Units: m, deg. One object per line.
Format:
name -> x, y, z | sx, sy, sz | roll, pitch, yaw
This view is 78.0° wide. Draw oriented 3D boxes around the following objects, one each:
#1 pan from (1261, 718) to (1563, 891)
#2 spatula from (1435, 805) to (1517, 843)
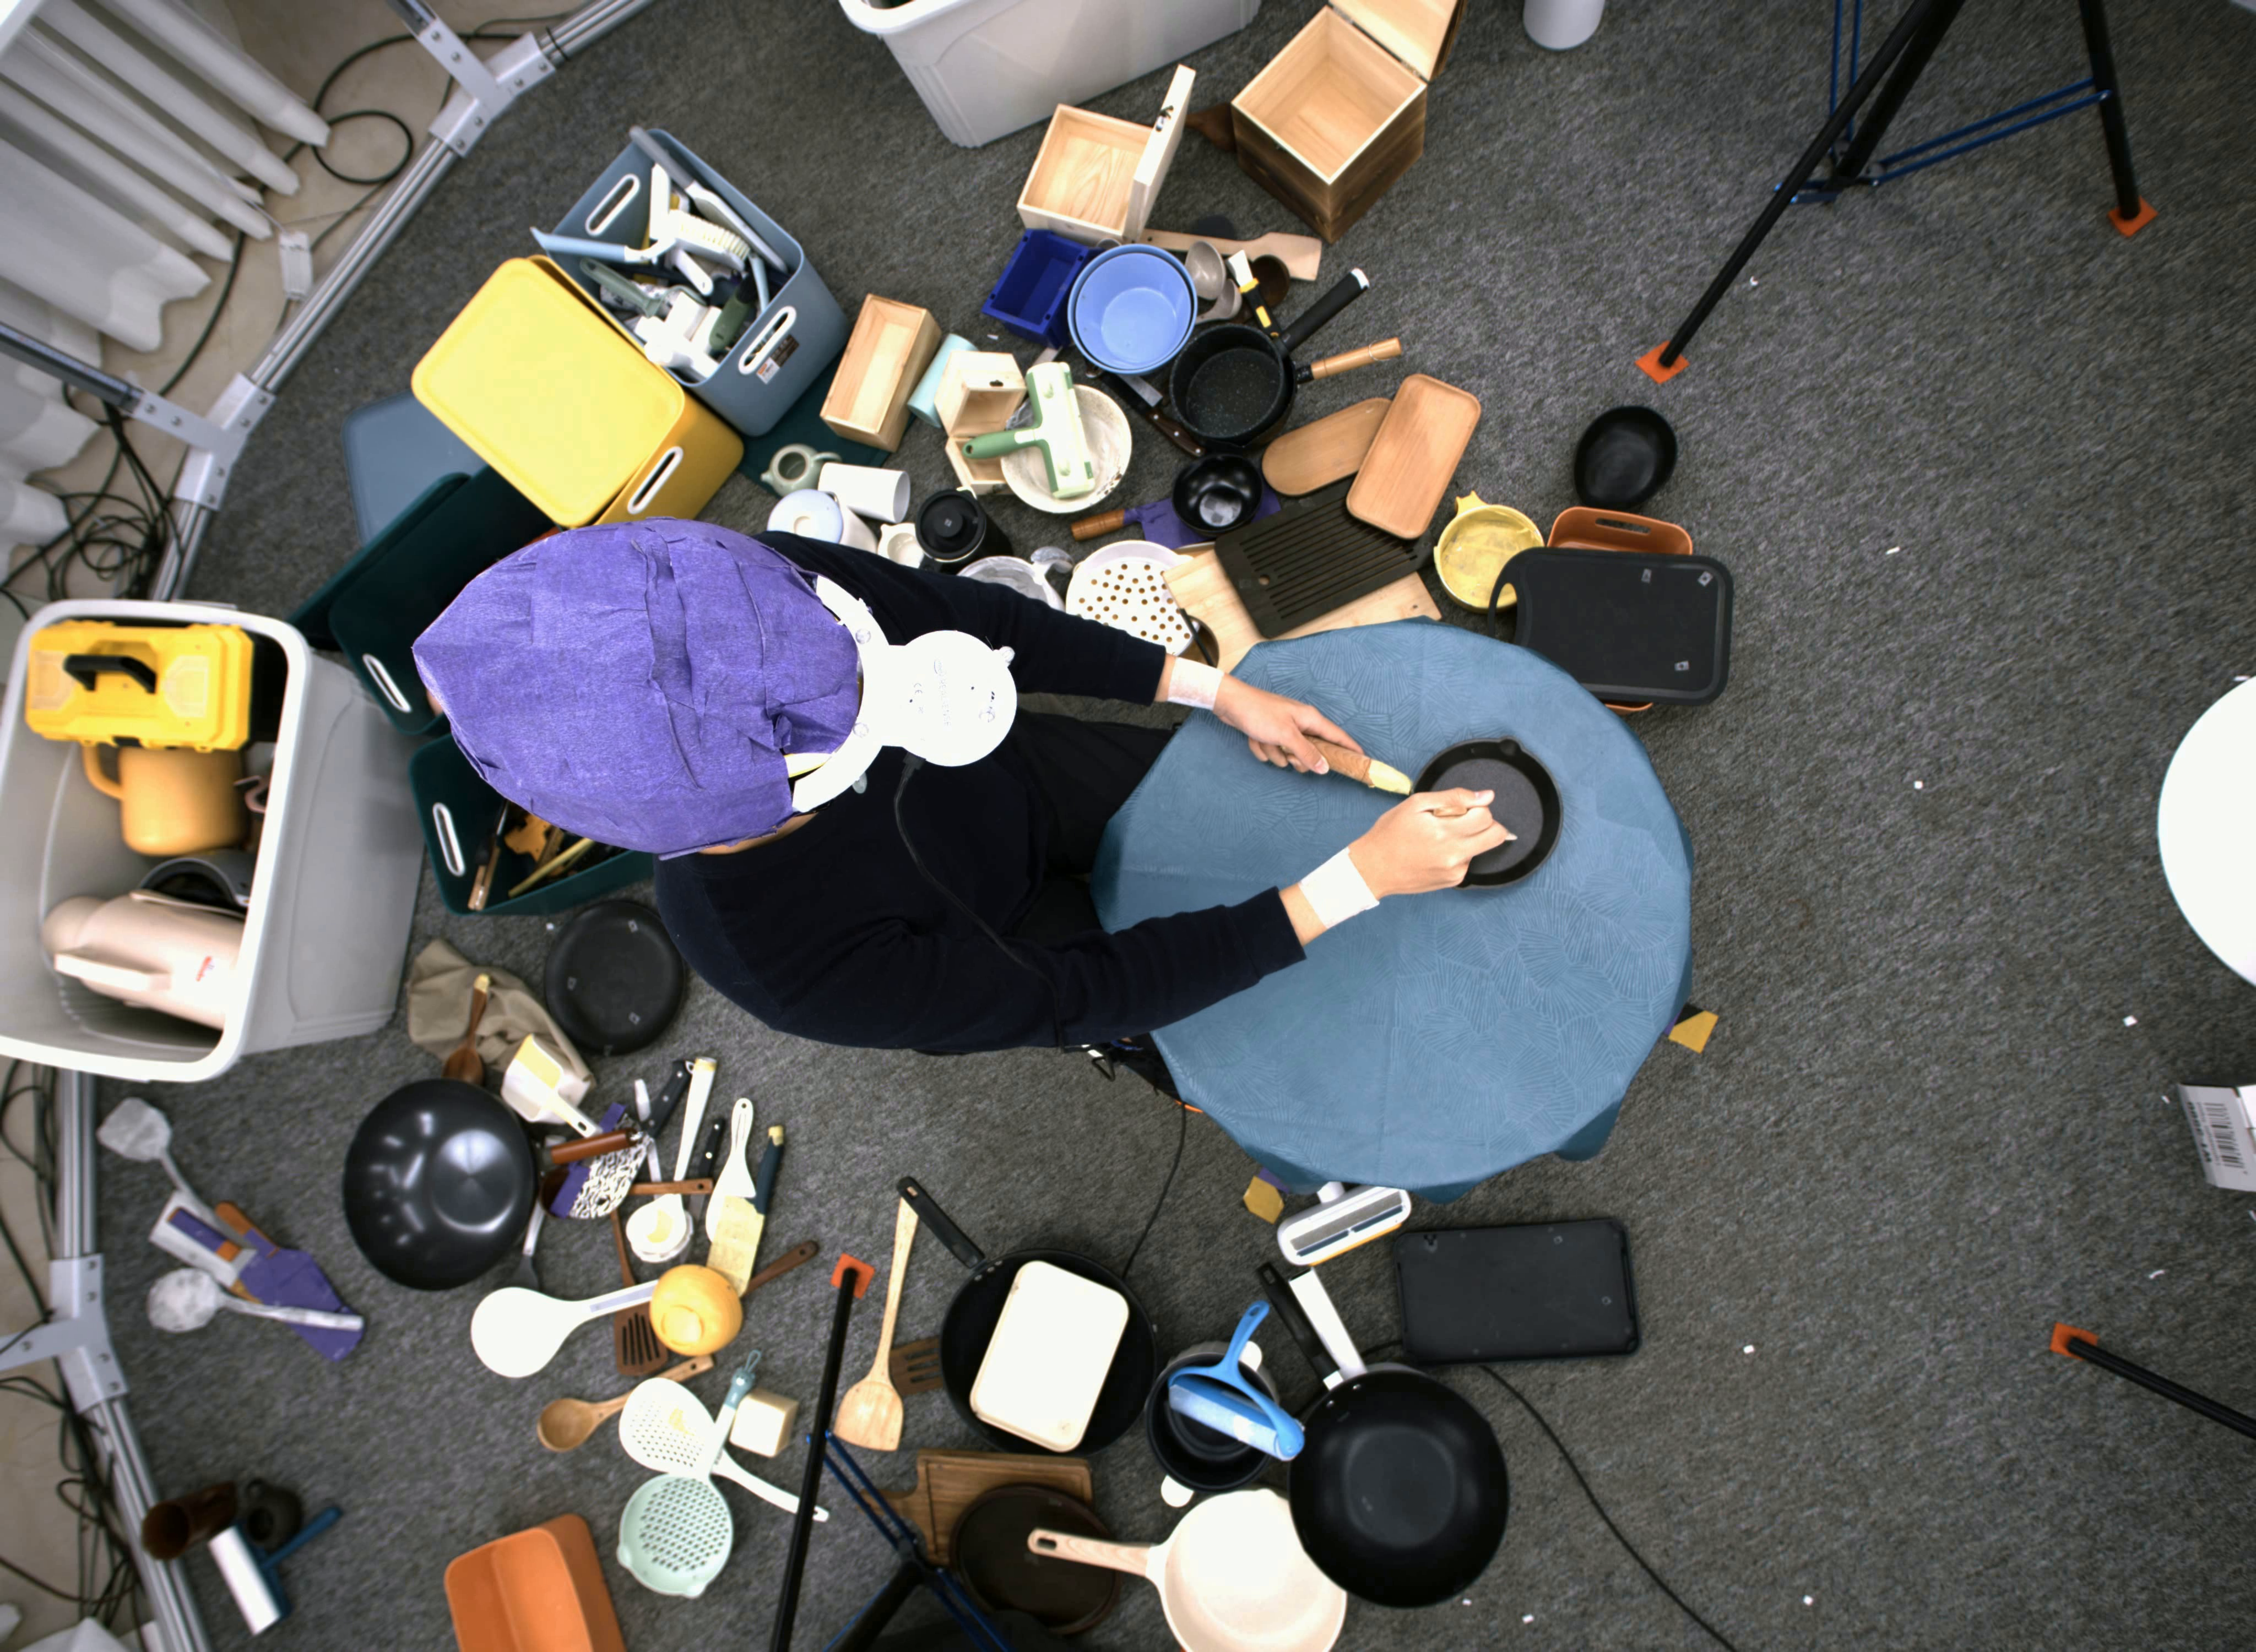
pan -> 0.292, -0.046, 1.437 | 0.324, 0.049, 0.169 | 23, 91, 10
spatula -> 0.317, -0.002, 1.293 | 0.080, 0.327, 0.016 | -5, 82, 18
